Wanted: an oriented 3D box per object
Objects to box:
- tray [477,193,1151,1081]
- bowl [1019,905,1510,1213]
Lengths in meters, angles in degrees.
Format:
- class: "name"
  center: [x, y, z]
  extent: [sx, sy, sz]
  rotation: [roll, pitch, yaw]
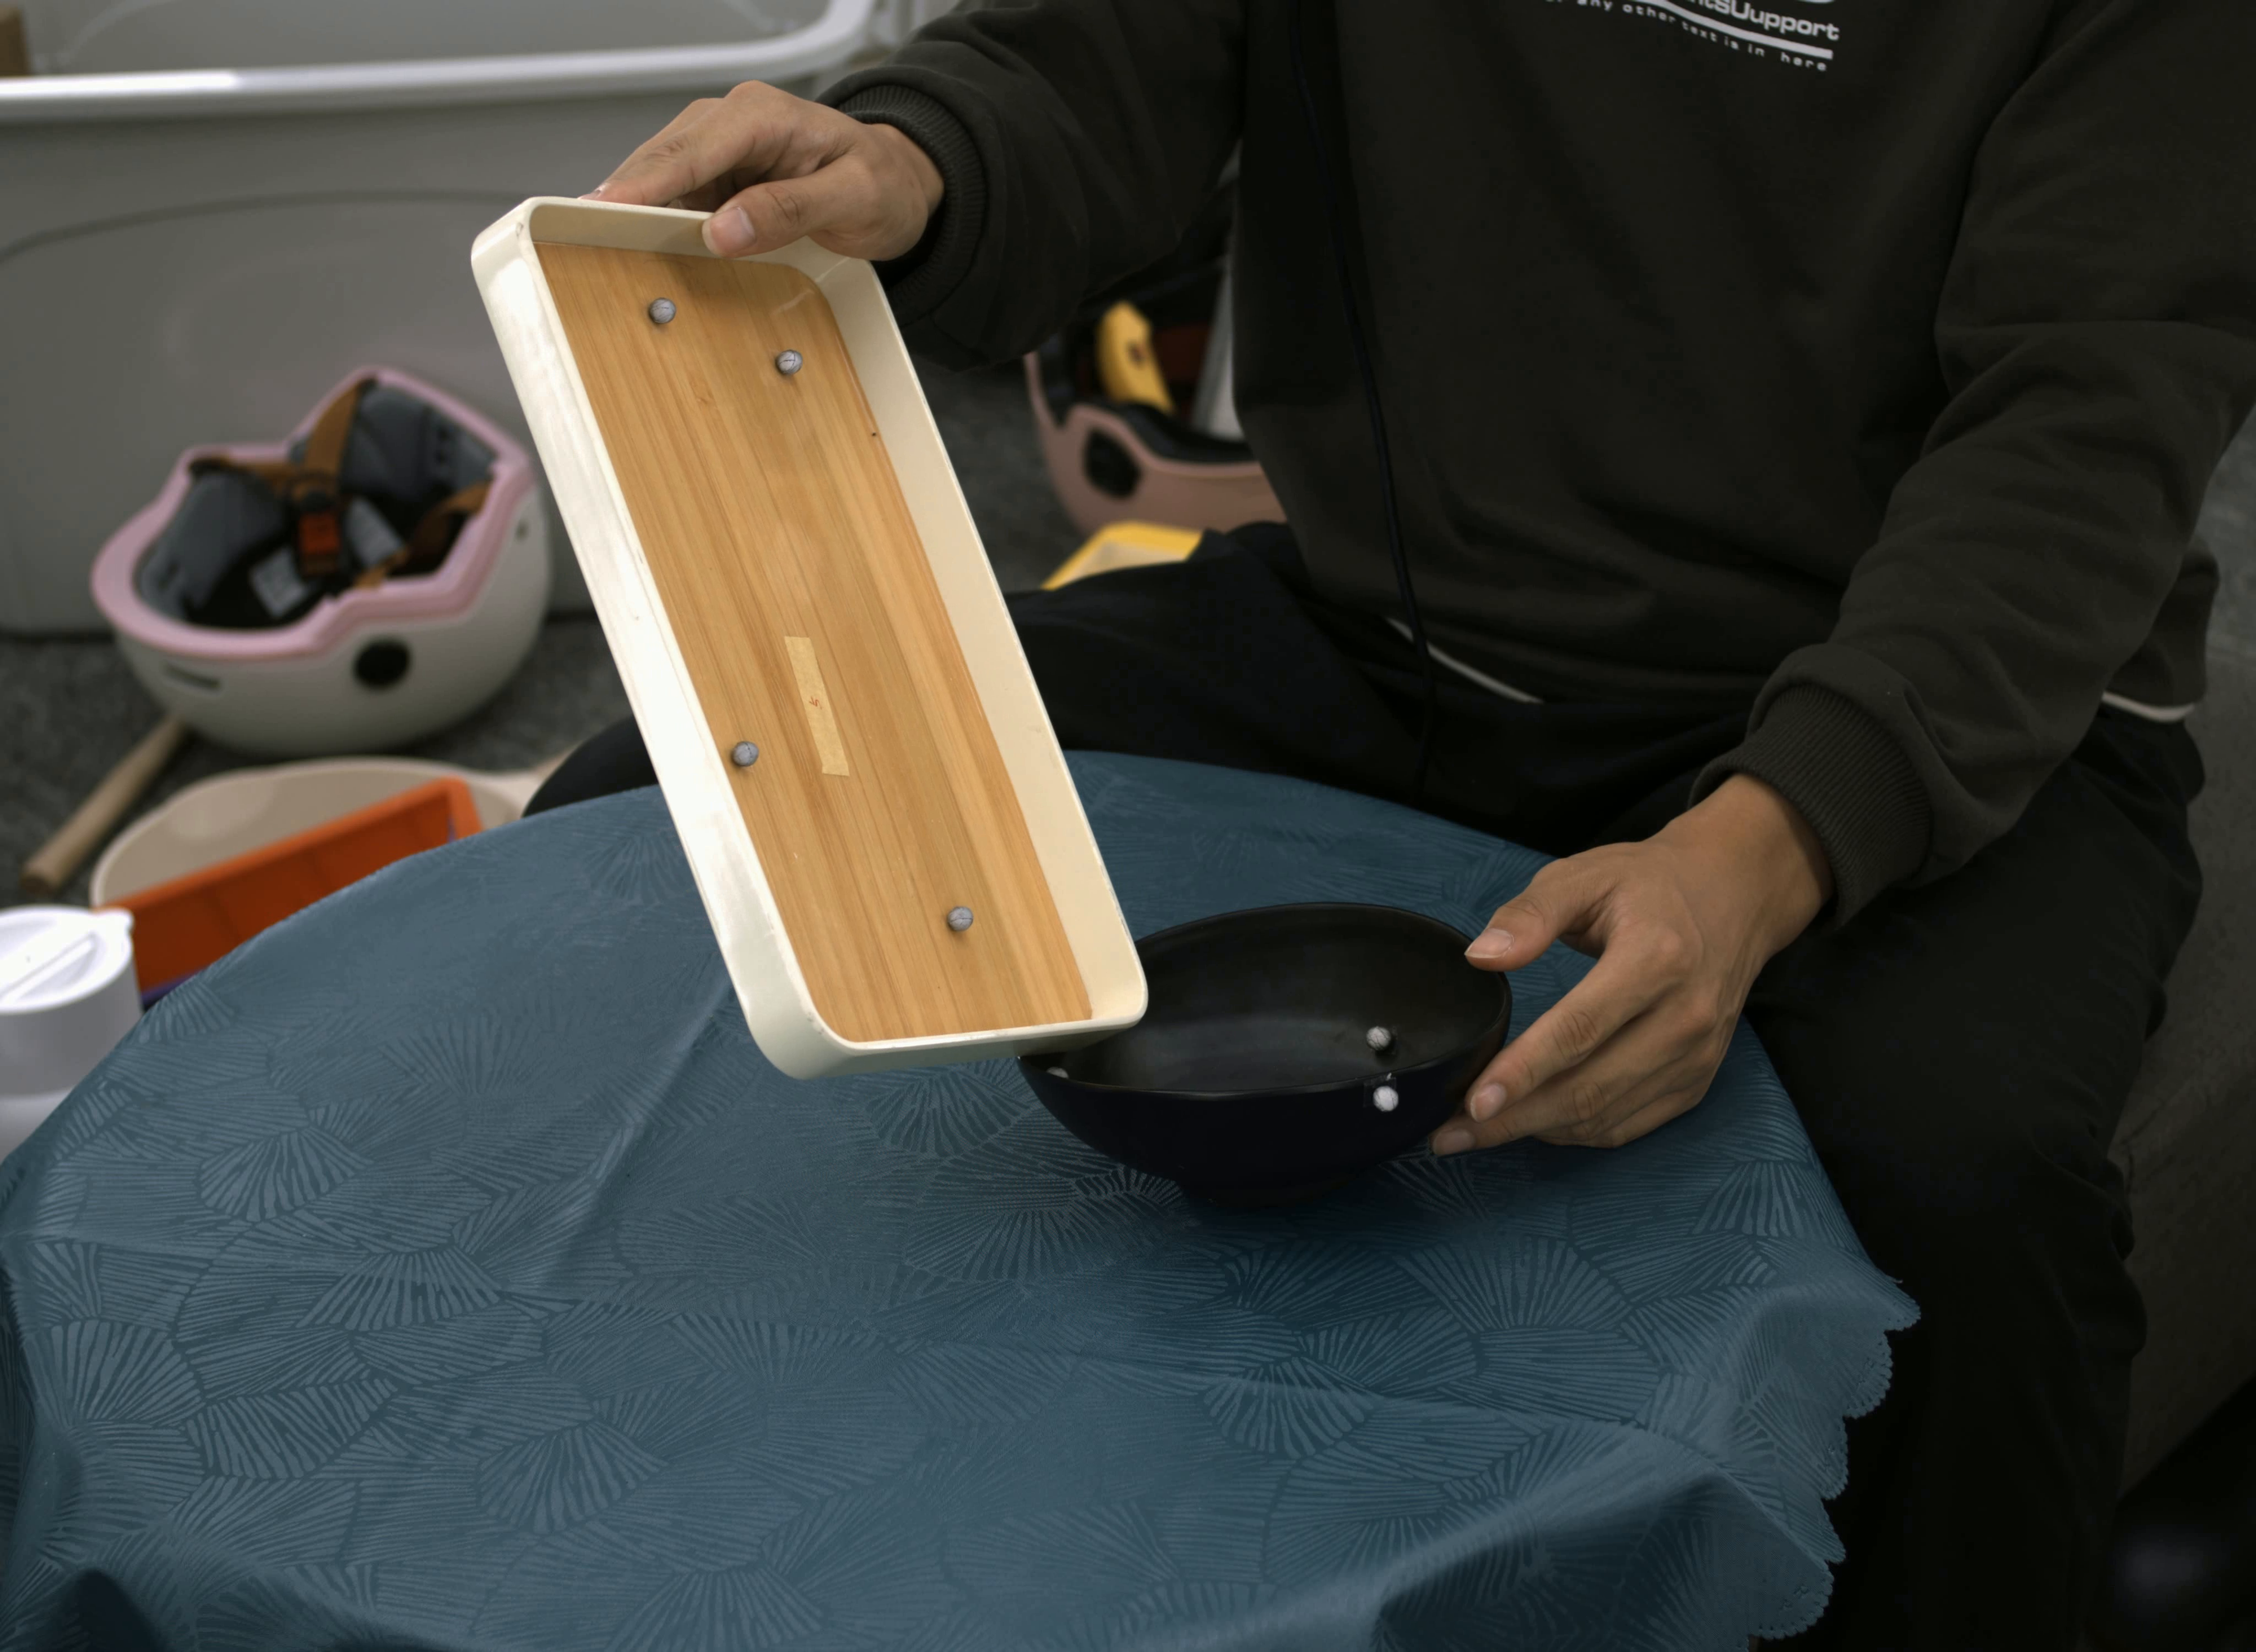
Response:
- class: "tray"
  center: [-0.101, -0.063, 1.846]
  extent: [0.027, 0.303, 0.192]
  rotation: [-29, -15, 31]
- class: "bowl"
  center: [0.046, 0.085, 1.860]
  extent: [0.169, 0.066, 0.139]
  rotation: [-2, 24, 18]
